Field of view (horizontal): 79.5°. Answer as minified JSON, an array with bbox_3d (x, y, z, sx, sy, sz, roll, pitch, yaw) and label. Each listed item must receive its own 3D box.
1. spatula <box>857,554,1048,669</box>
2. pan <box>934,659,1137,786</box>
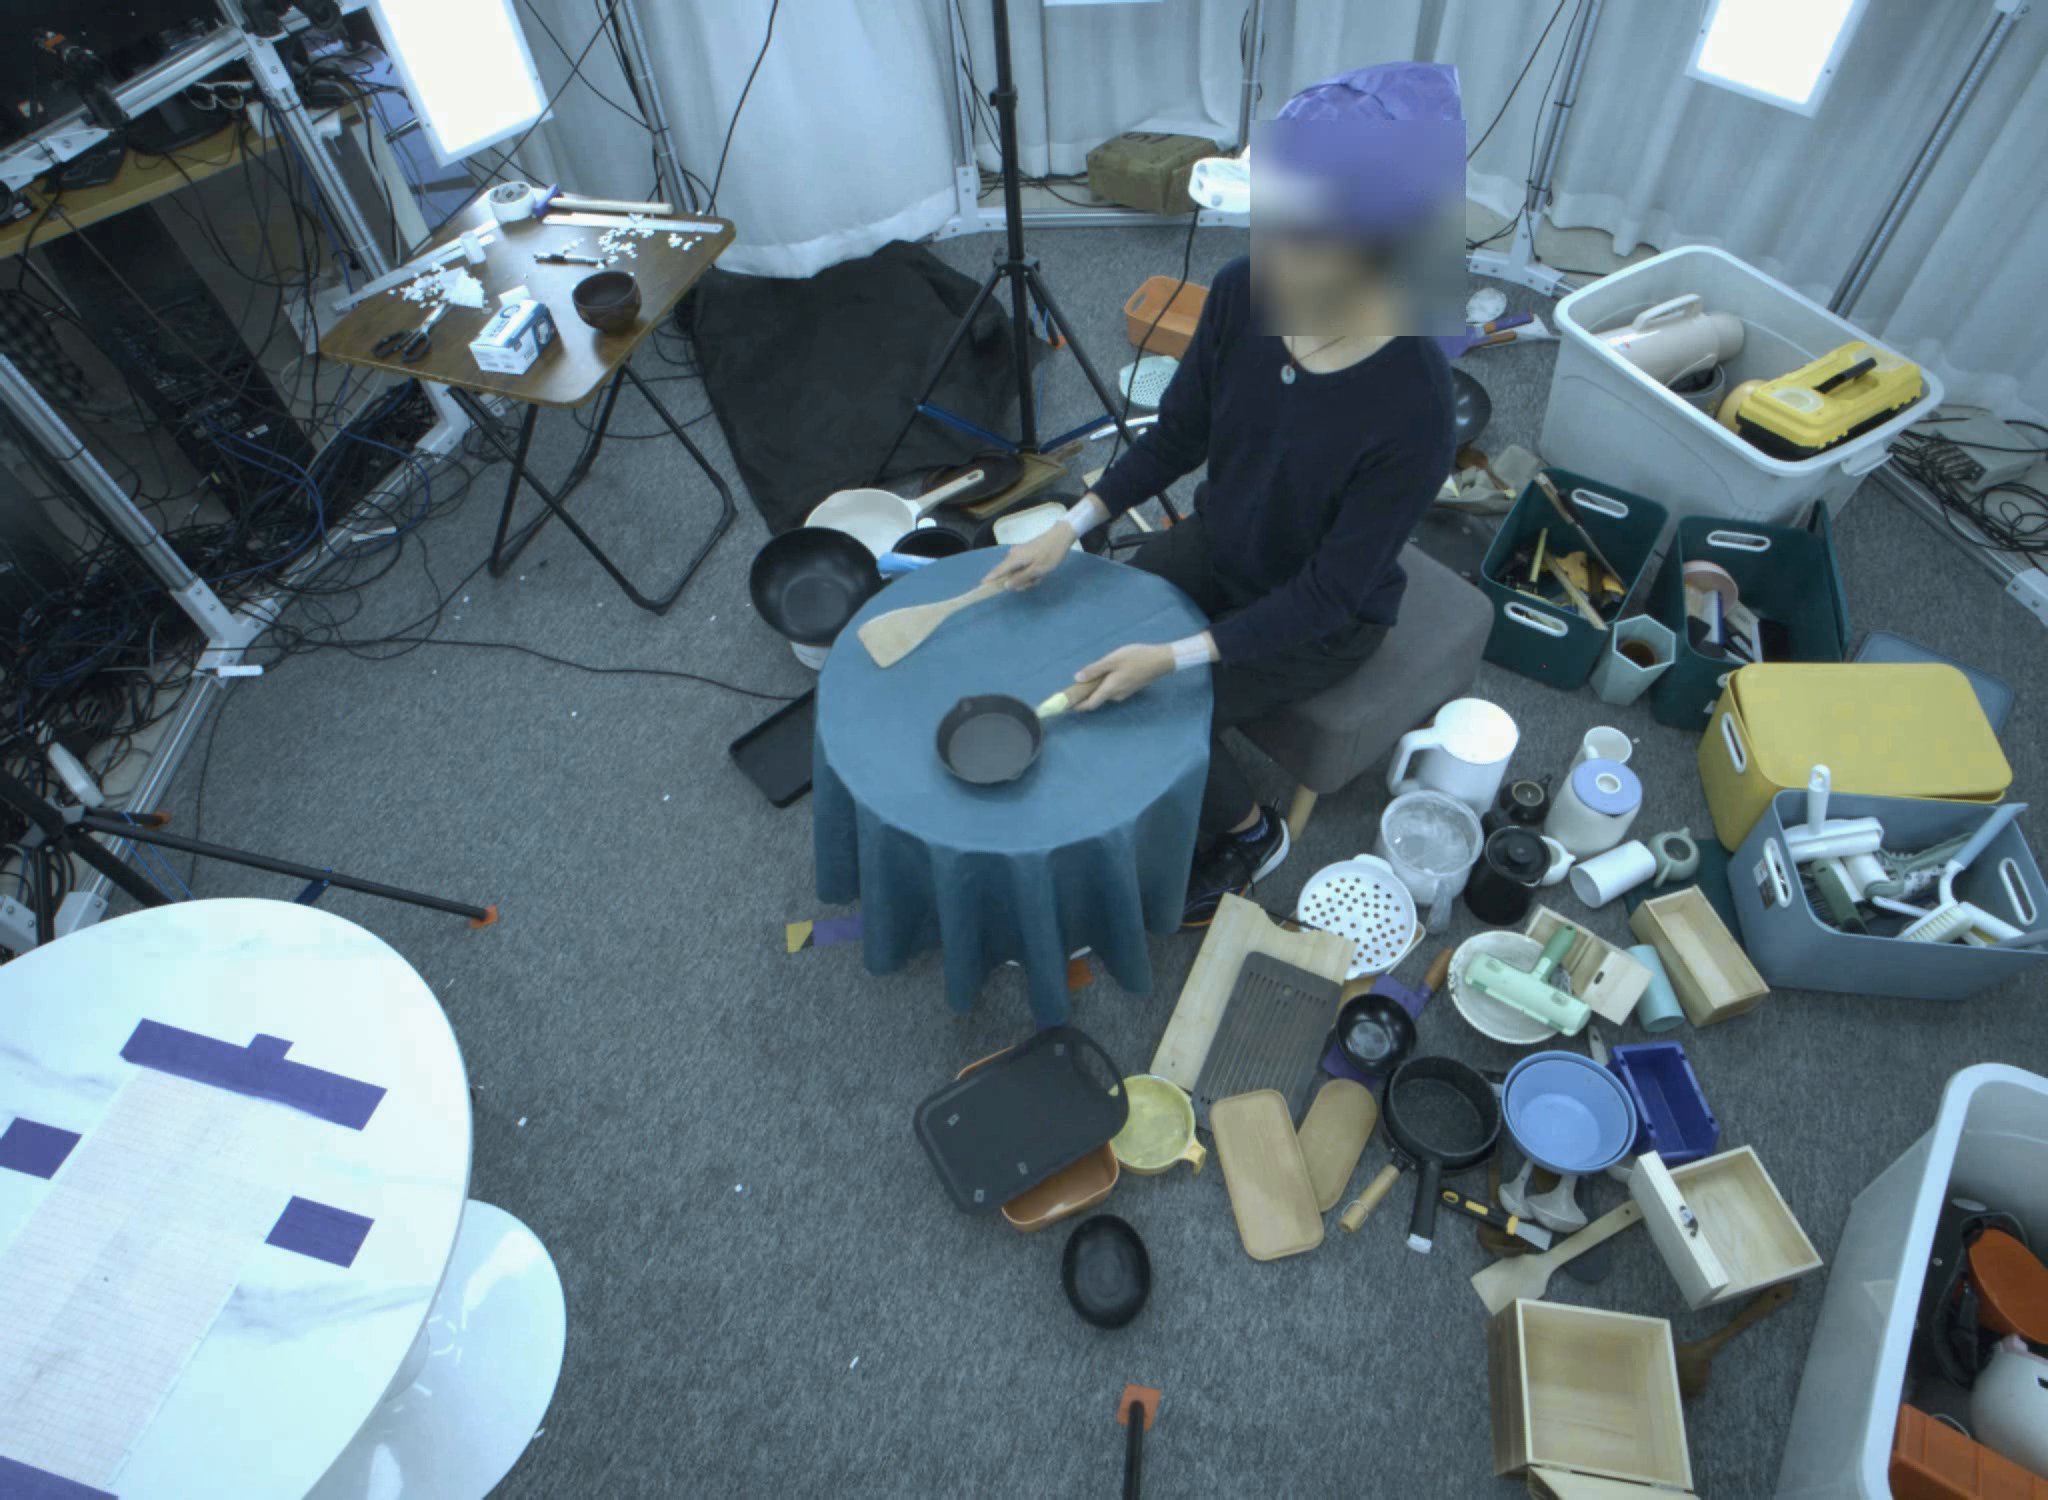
[{"bbox_3d":[-0.104,-0.225,1.903,0.330,0.081,0.016,-28,28,-13],"label":"spatula"},{"bbox_3d":[0.025,-0.050,1.785,0.326,0.050,0.166,-26,58,-12],"label":"pan"}]
